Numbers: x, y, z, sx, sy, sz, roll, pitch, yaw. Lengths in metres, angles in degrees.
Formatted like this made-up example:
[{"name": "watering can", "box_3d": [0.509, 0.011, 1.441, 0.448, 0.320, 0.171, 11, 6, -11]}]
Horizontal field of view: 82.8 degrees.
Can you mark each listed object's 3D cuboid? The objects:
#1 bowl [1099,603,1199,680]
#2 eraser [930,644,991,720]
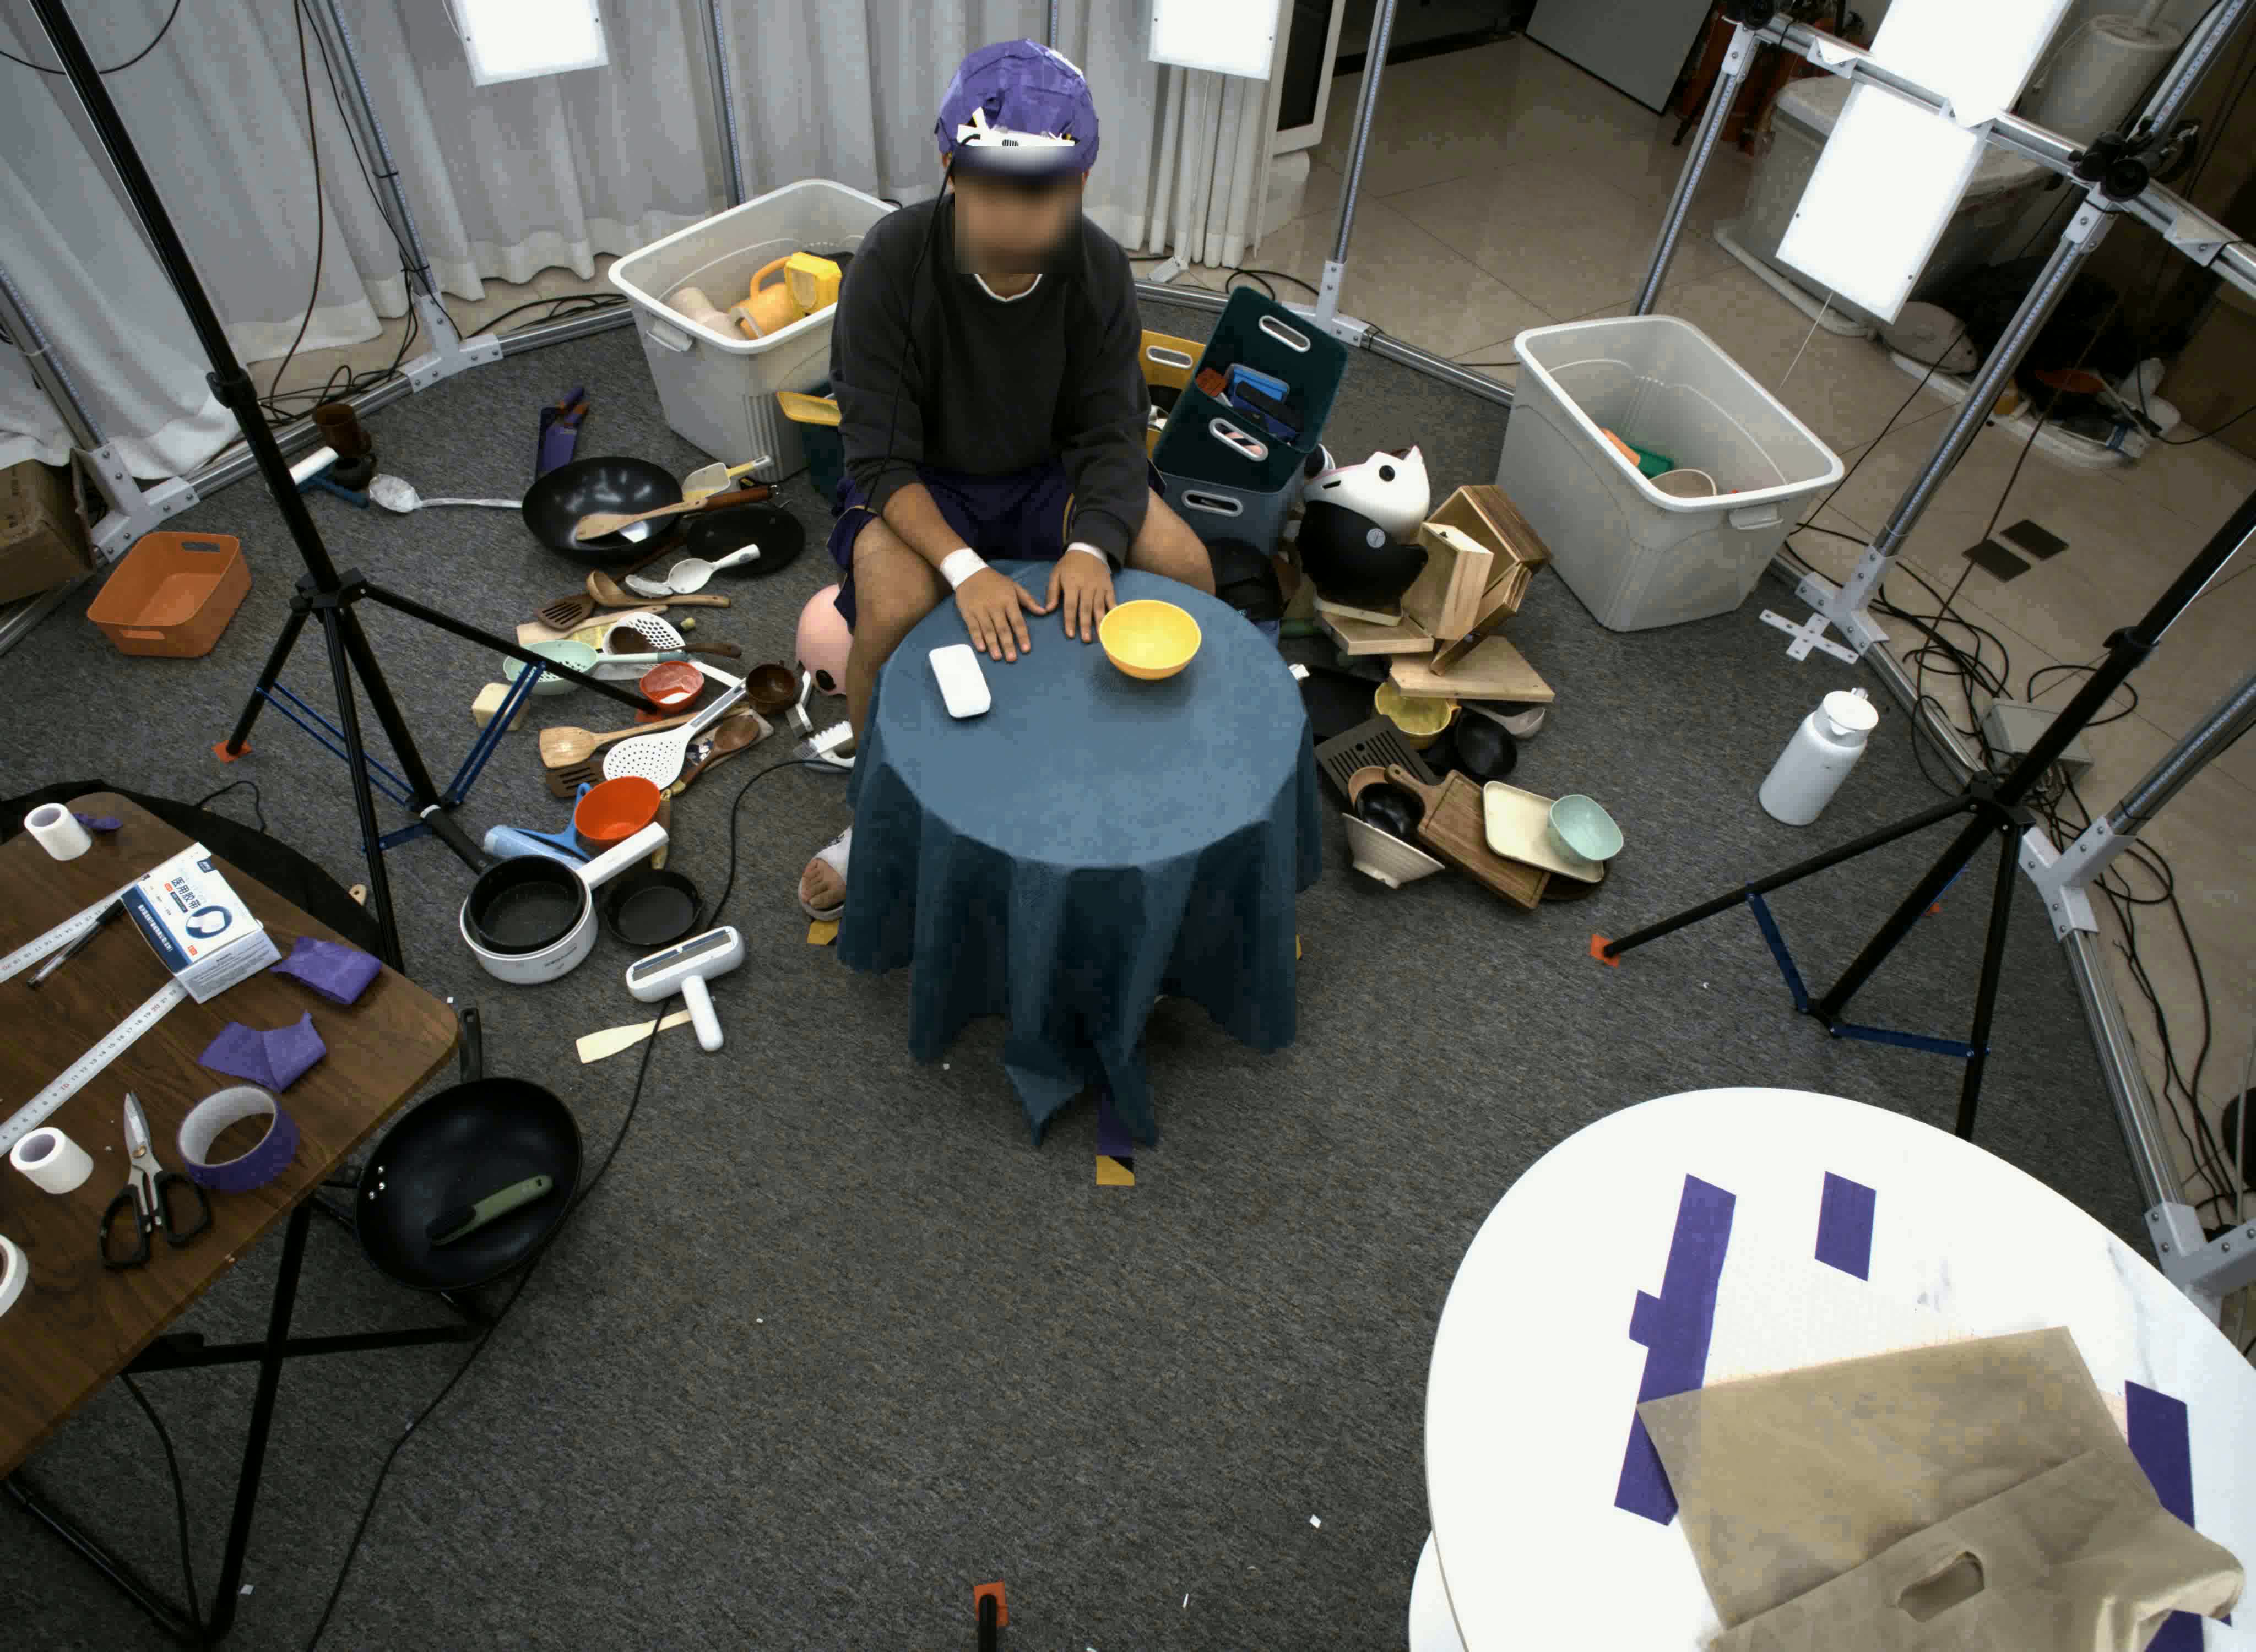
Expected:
[{"name": "bowl", "box_3d": [0.028, -0.255, 1.855, 0.145, 0.058, 0.149, 2, 47, -3]}, {"name": "eraser", "box_3d": [-0.235, -0.206, 1.809, 0.063, 0.034, 0.134, -12, 52, -14]}]
